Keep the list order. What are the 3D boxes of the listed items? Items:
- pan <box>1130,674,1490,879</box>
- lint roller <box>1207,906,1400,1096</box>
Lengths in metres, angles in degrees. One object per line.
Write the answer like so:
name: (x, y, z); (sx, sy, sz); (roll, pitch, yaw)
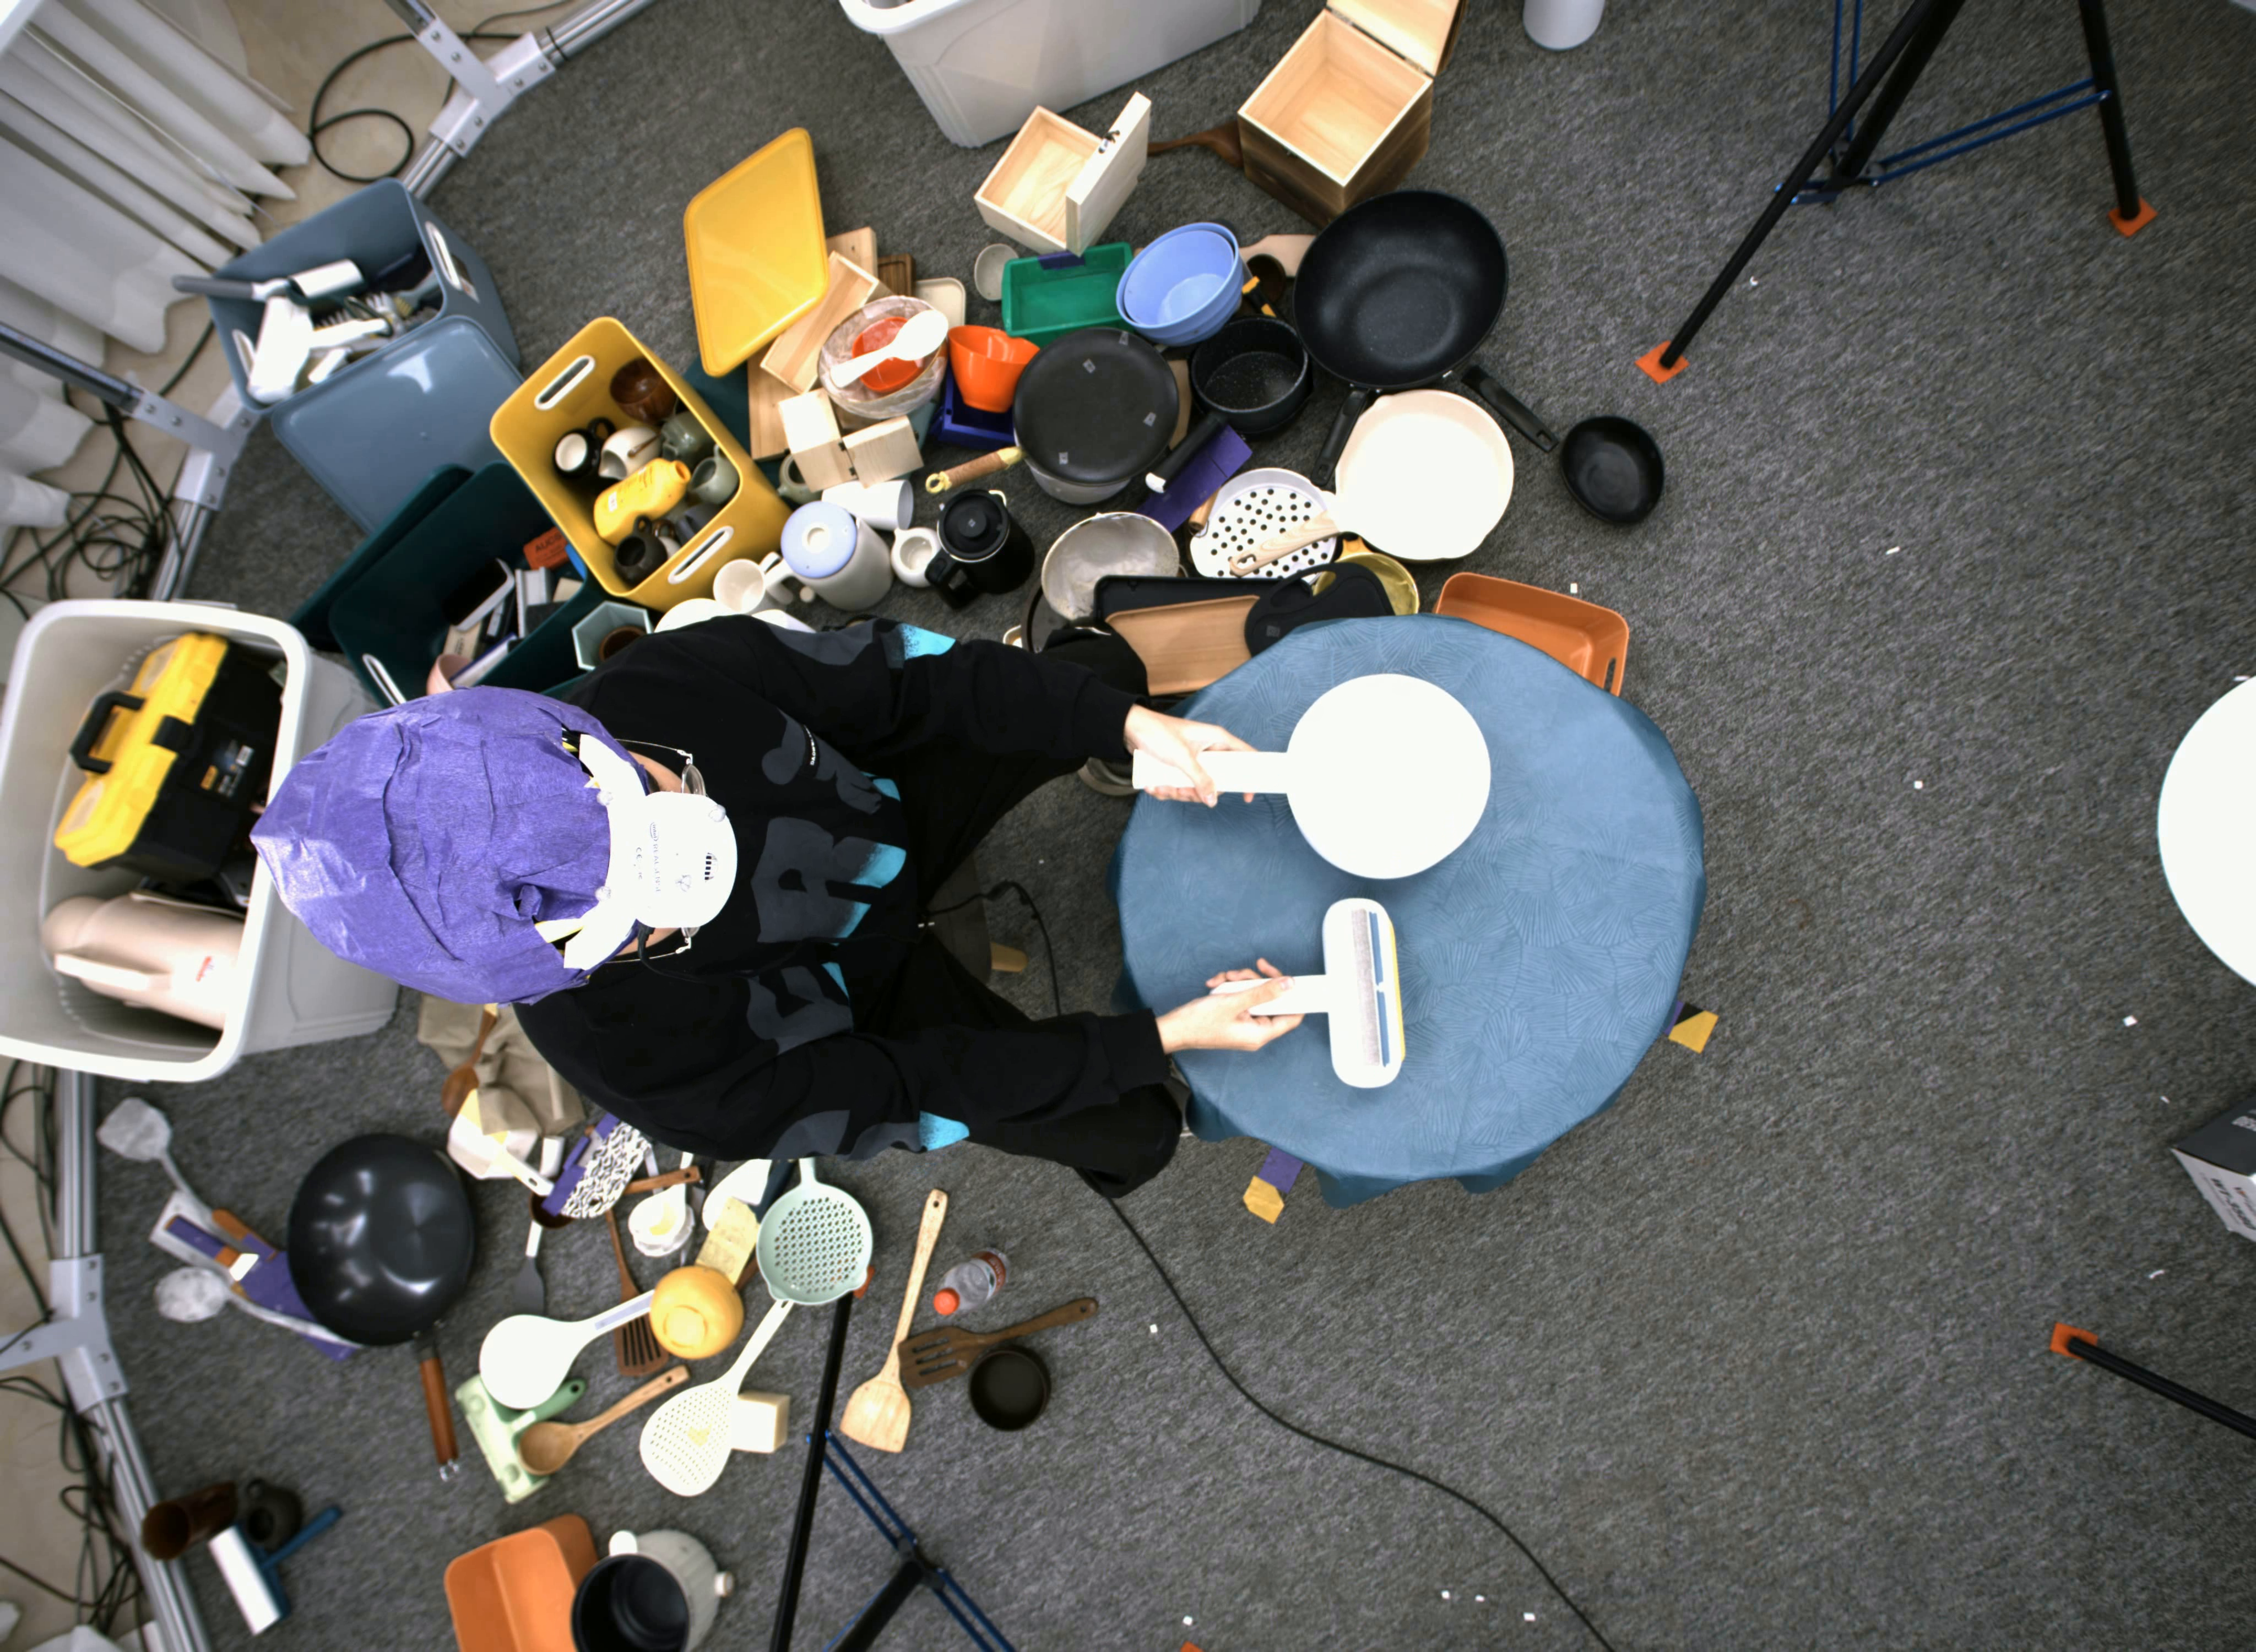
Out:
pan: (0.183, -0.049, 1.408); (0.356, 0.102, 0.199); (1, 82, 8)
lint roller: (0.177, 0.174, 1.402); (0.192, 0.075, 0.190); (2, 77, -1)
